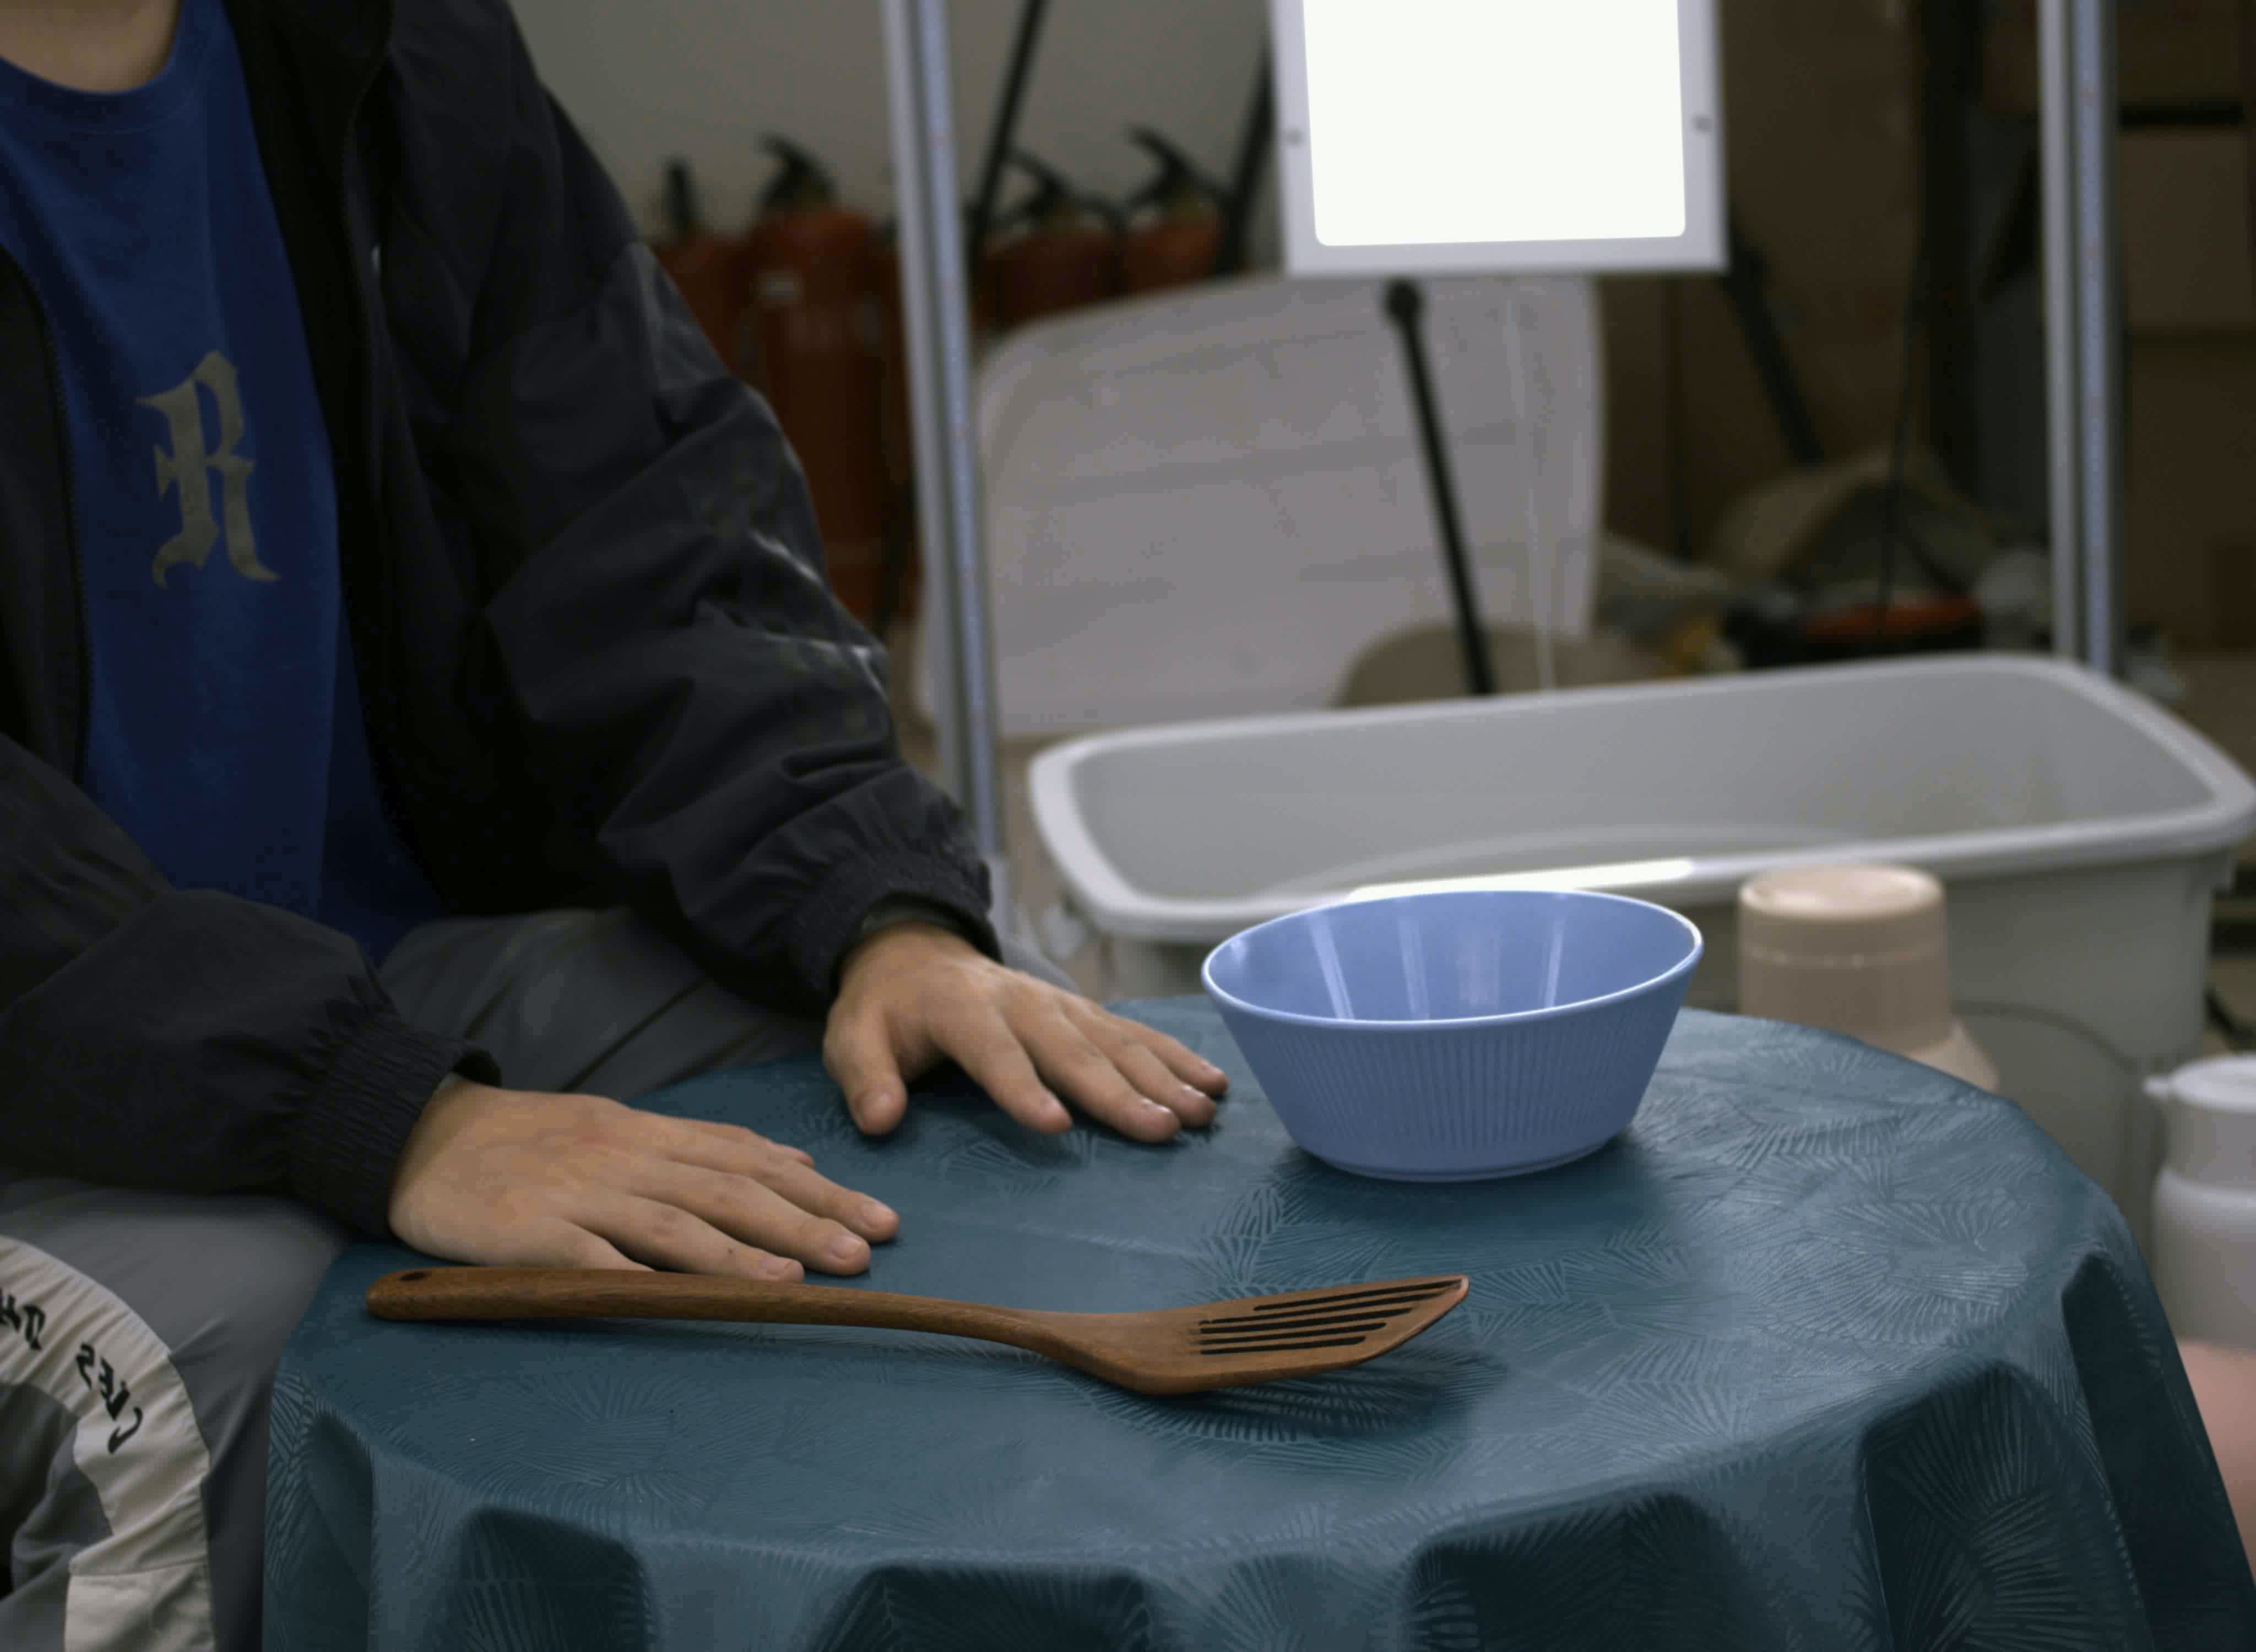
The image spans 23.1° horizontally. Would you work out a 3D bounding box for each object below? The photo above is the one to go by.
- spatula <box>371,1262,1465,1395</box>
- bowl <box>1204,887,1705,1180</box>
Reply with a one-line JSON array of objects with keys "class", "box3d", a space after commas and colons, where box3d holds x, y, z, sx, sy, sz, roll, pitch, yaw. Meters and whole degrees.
[{"class": "spatula", "box3d": [-0.077, 0.157, 1.759, 0.393, 0.024, 0.084, 0, 14, 27]}, {"class": "bowl", "box3d": [0.116, 0.075, 1.917, 0.175, 0.070, 0.176, -6, 13, 0]}]
